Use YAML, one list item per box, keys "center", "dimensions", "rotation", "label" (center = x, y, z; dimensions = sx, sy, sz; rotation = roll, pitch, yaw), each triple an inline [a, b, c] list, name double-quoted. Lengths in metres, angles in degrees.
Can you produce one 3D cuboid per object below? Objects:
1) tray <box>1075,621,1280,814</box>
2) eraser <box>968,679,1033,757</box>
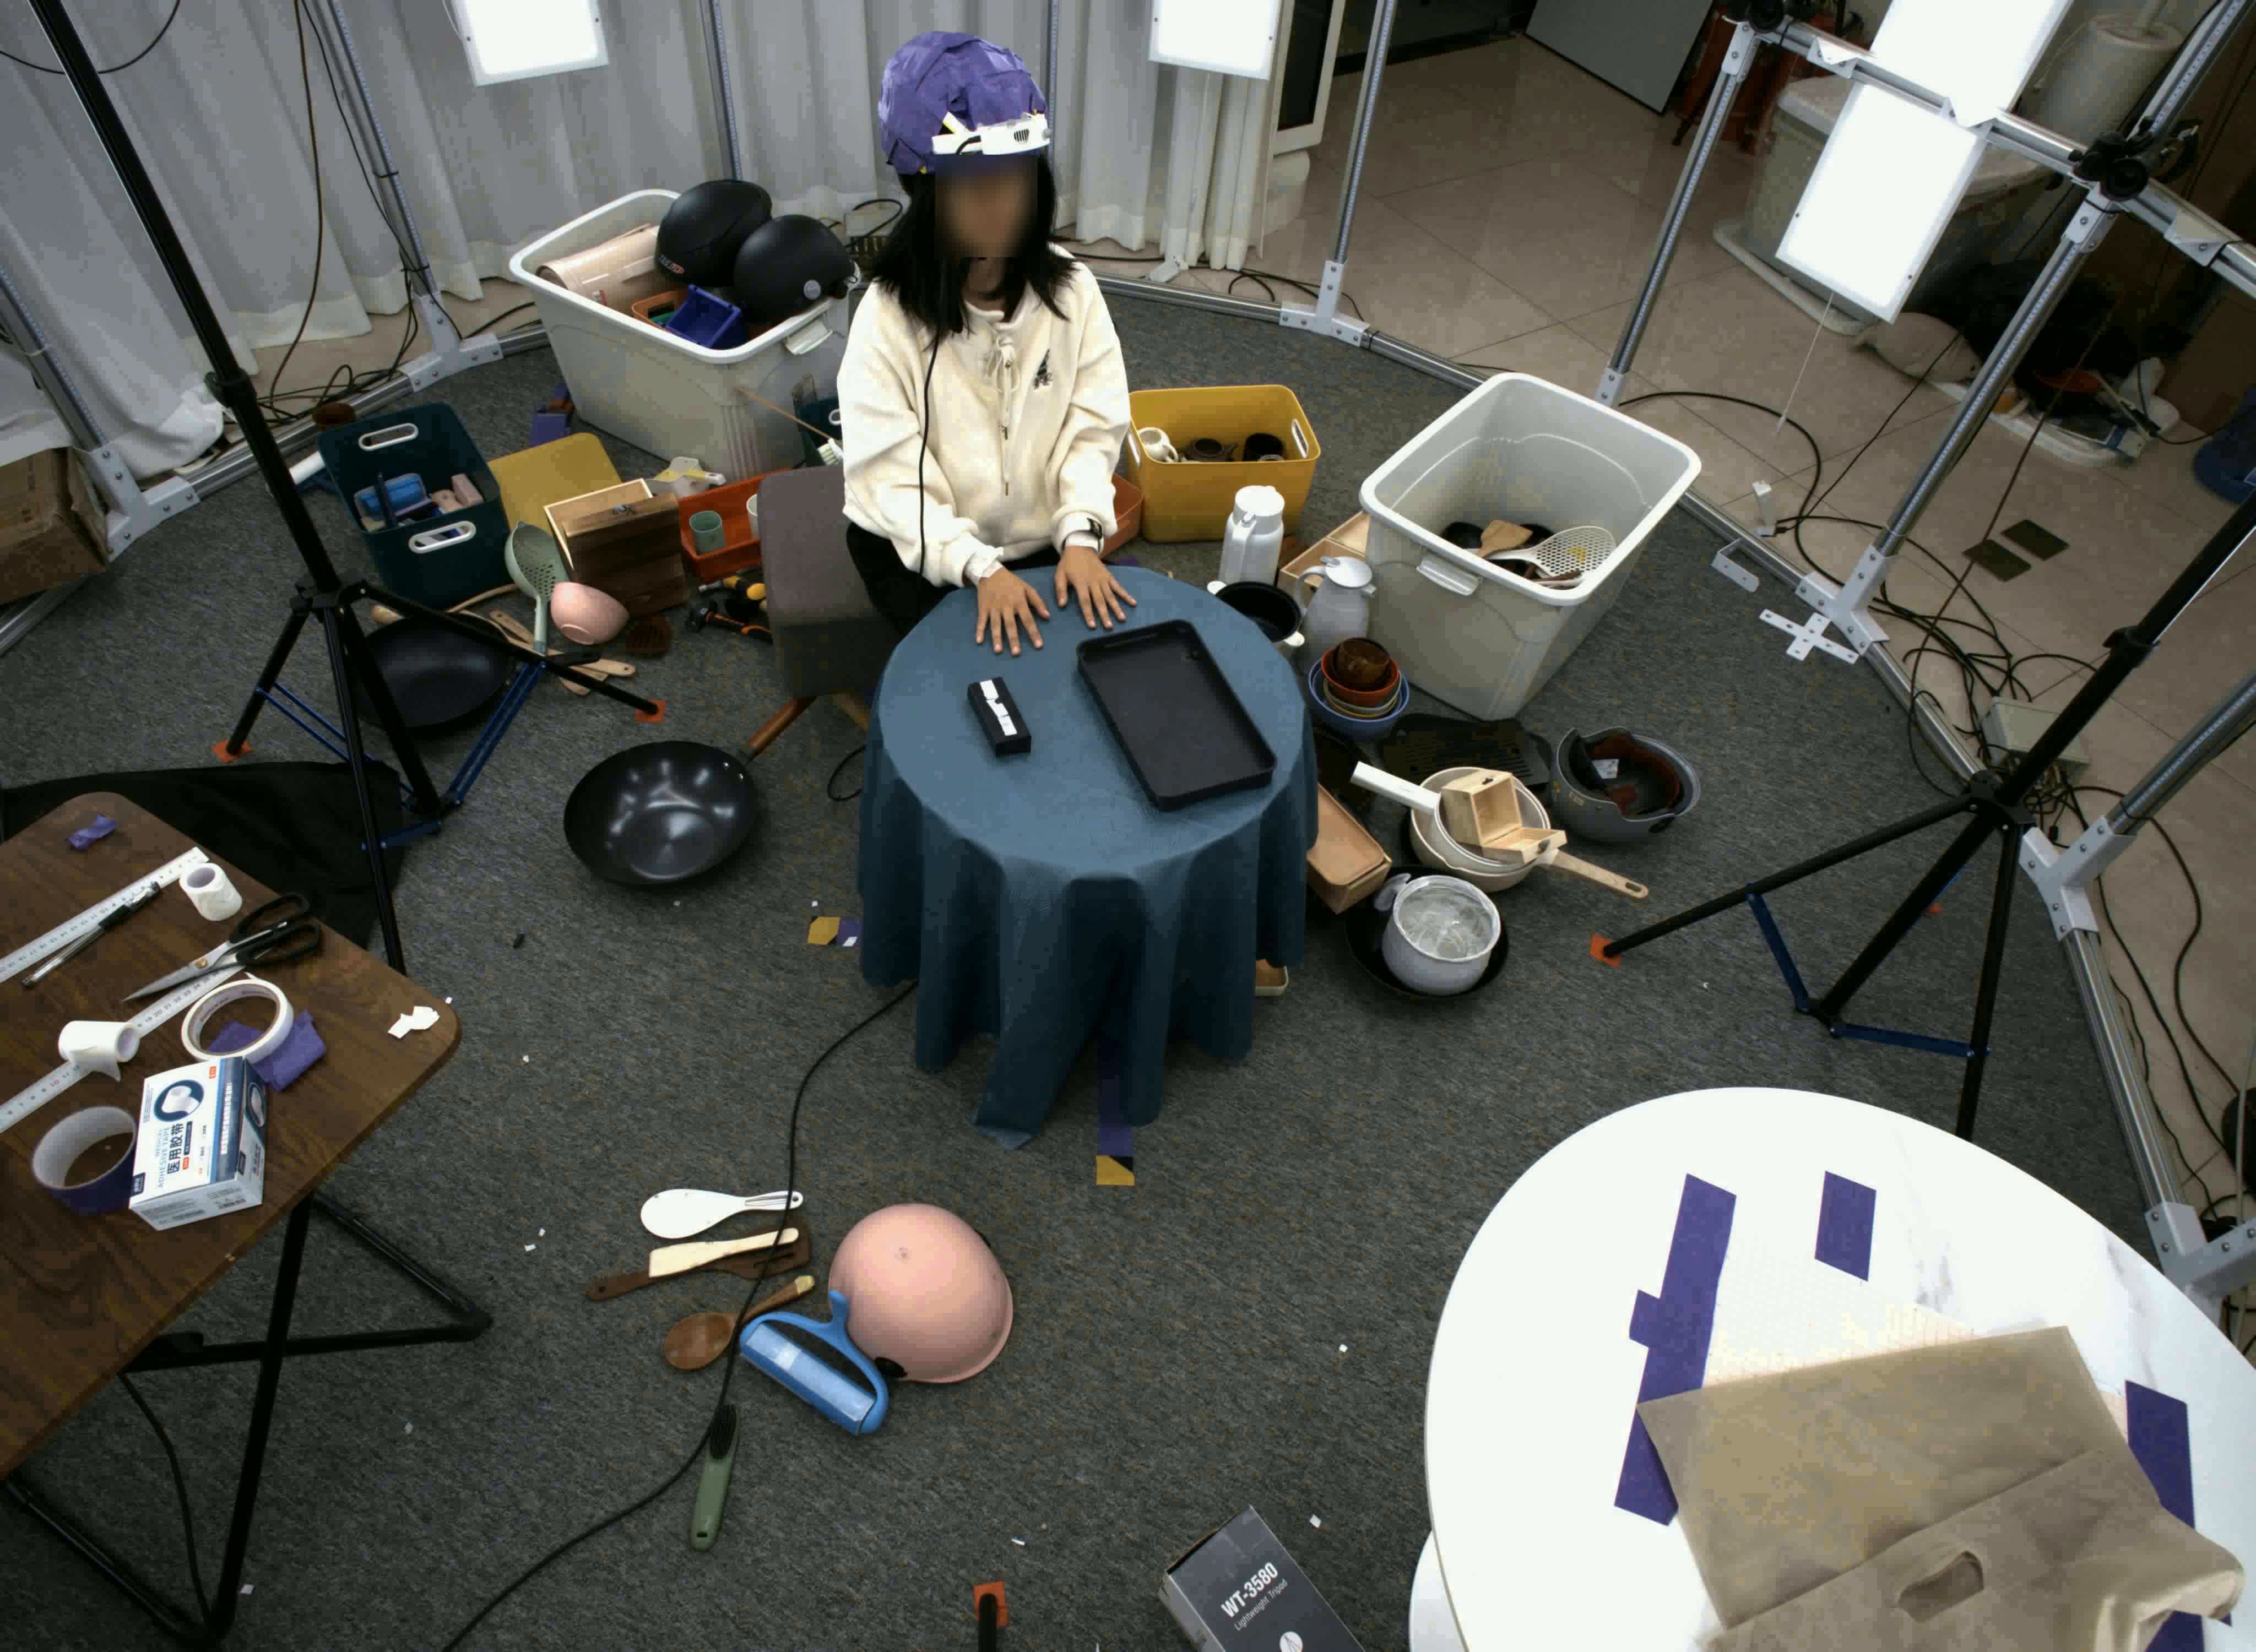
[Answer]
- center: [0.063, -0.157, 1.786]
  dimensions: [0.184, 0.036, 0.325]
  rotation: [-16, 52, -17]
  label: "tray"
- center: [-0.177, -0.150, 1.770]
  dimensions: [0.053, 0.030, 0.128]
  rotation: [-12, 51, -20]
  label: "eraser"
